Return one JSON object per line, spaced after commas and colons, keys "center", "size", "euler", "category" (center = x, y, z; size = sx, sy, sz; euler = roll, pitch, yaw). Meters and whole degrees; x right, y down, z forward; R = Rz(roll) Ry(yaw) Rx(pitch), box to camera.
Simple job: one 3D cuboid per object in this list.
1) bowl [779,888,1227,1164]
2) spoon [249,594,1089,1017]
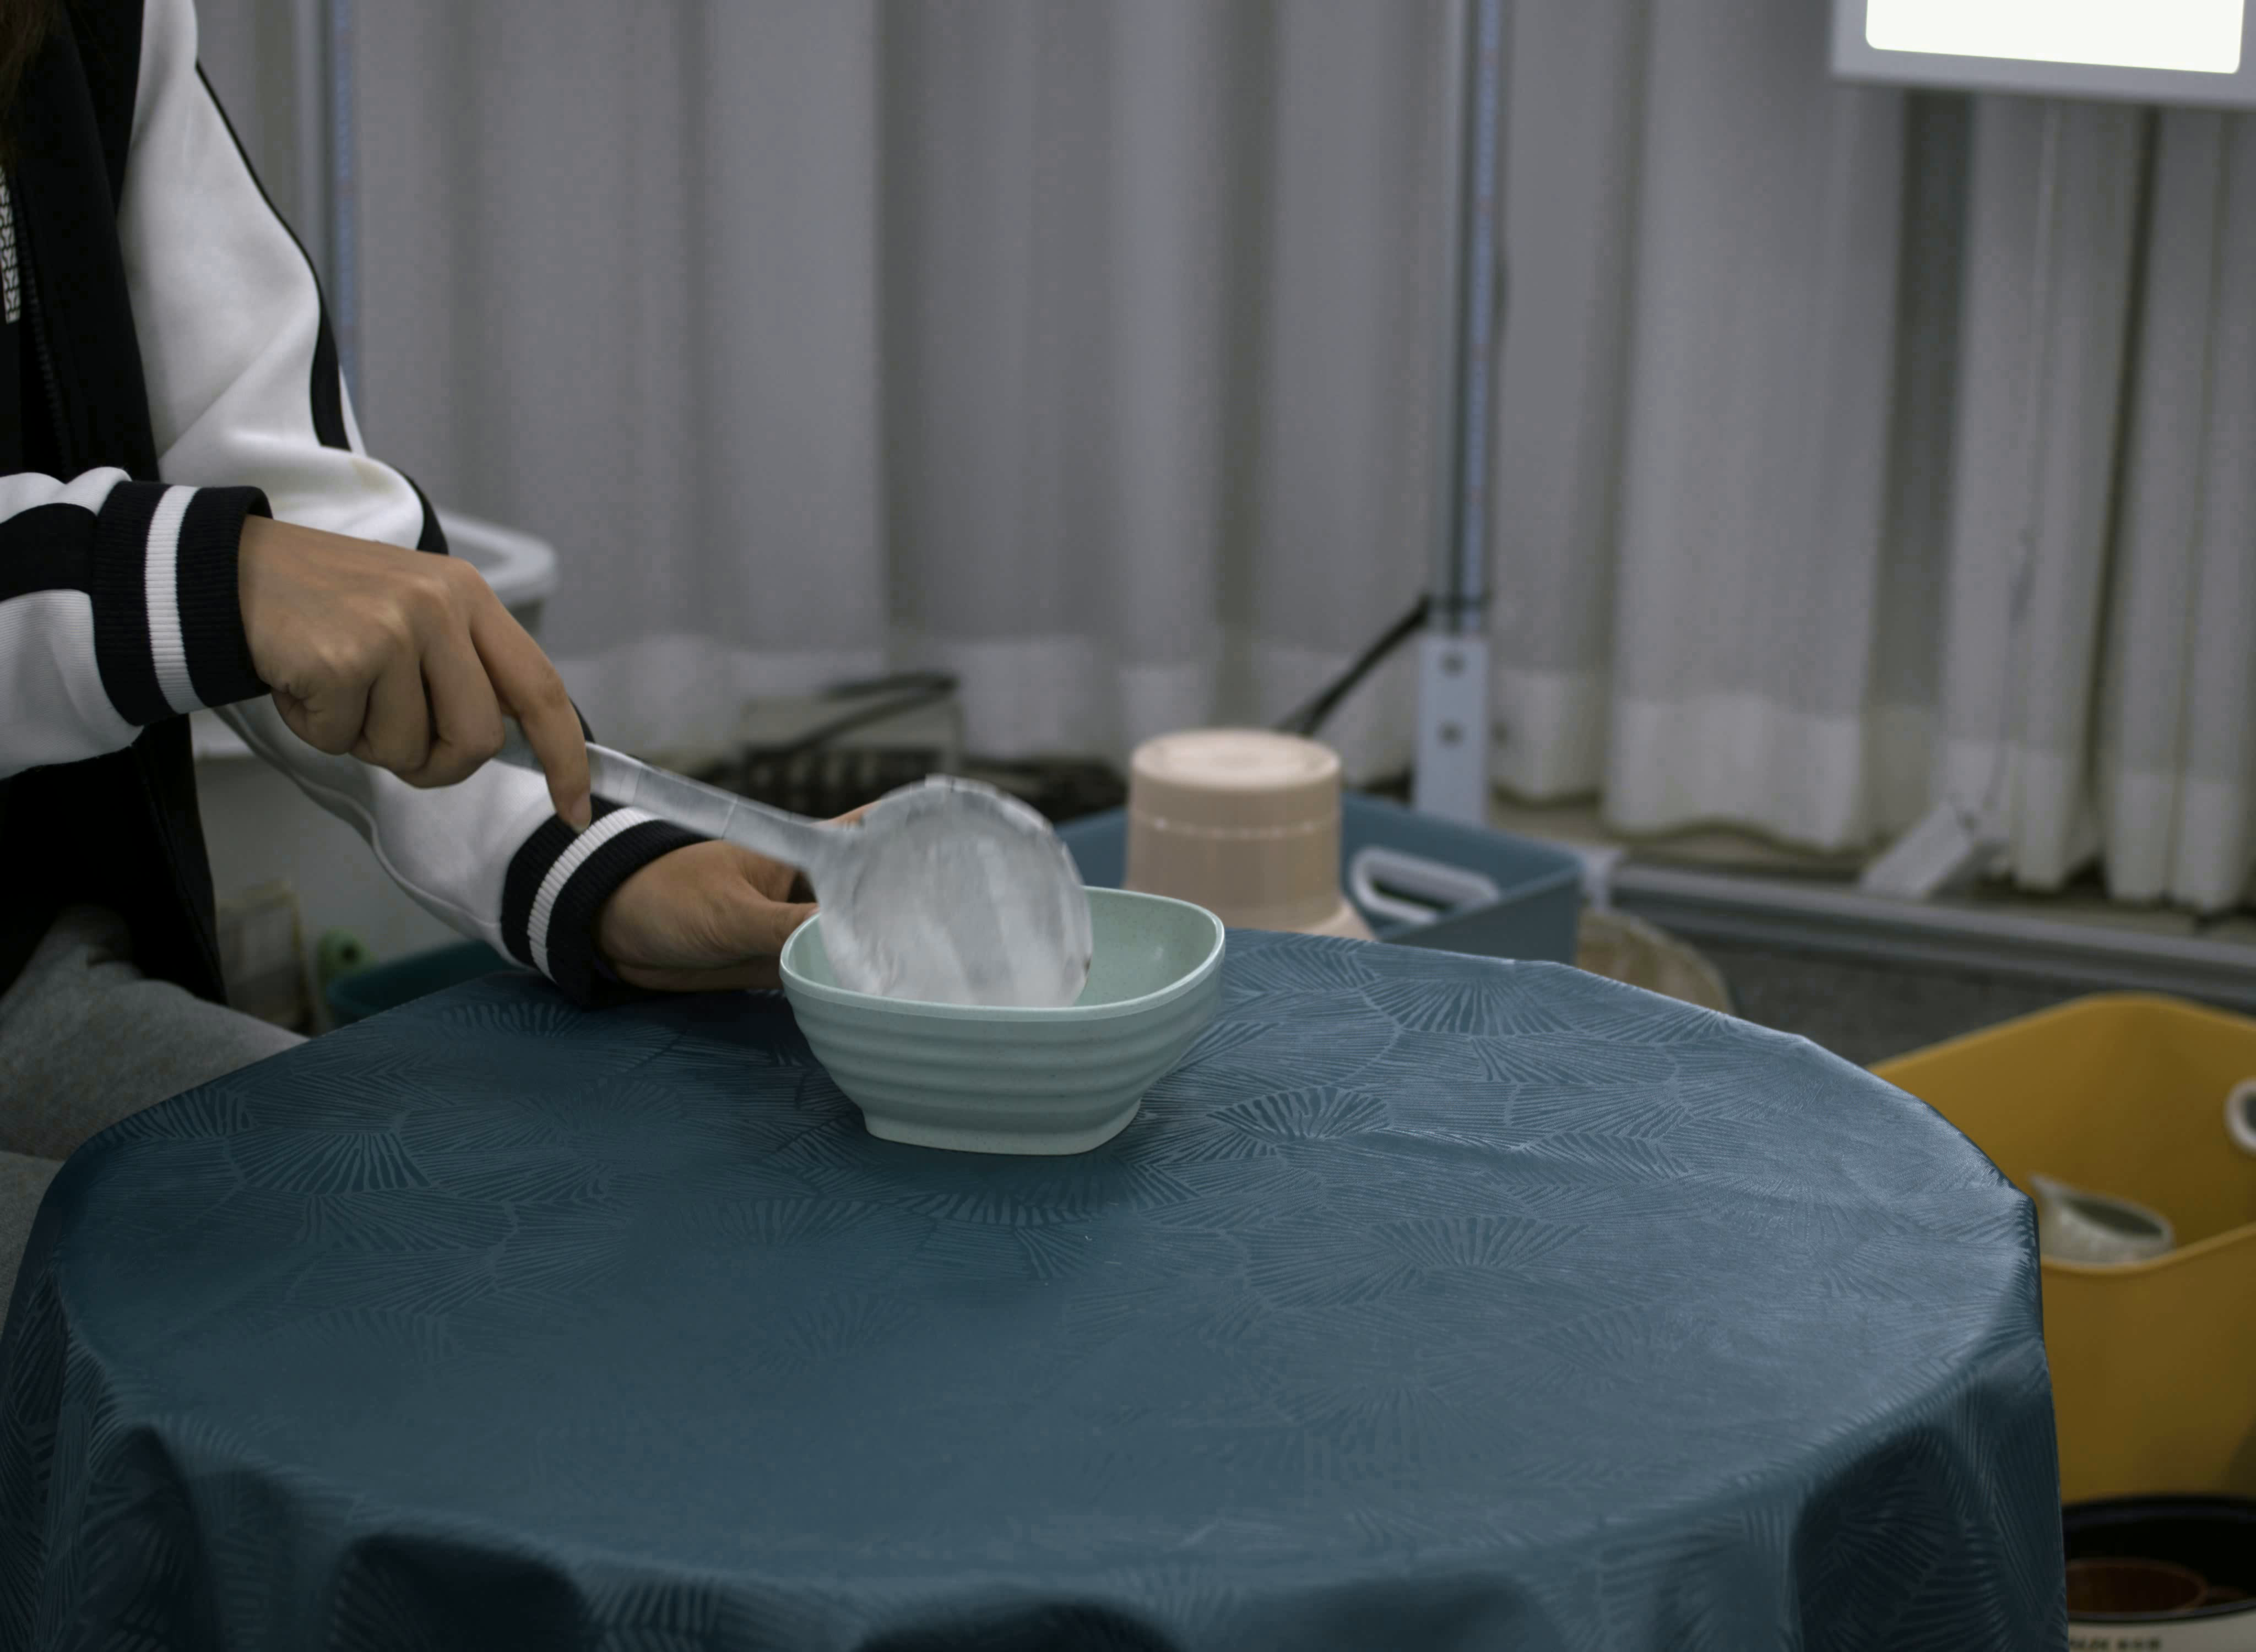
{"center": [-0.039, 0.066, 1.687], "size": [0.151, 0.059, 0.150], "euler": [1, 16, 0], "category": "bowl"}
{"center": [-0.140, -0.007, 1.619], "size": [0.279, 0.101, 0.059], "euler": [25, 14, -19], "category": "spoon"}
